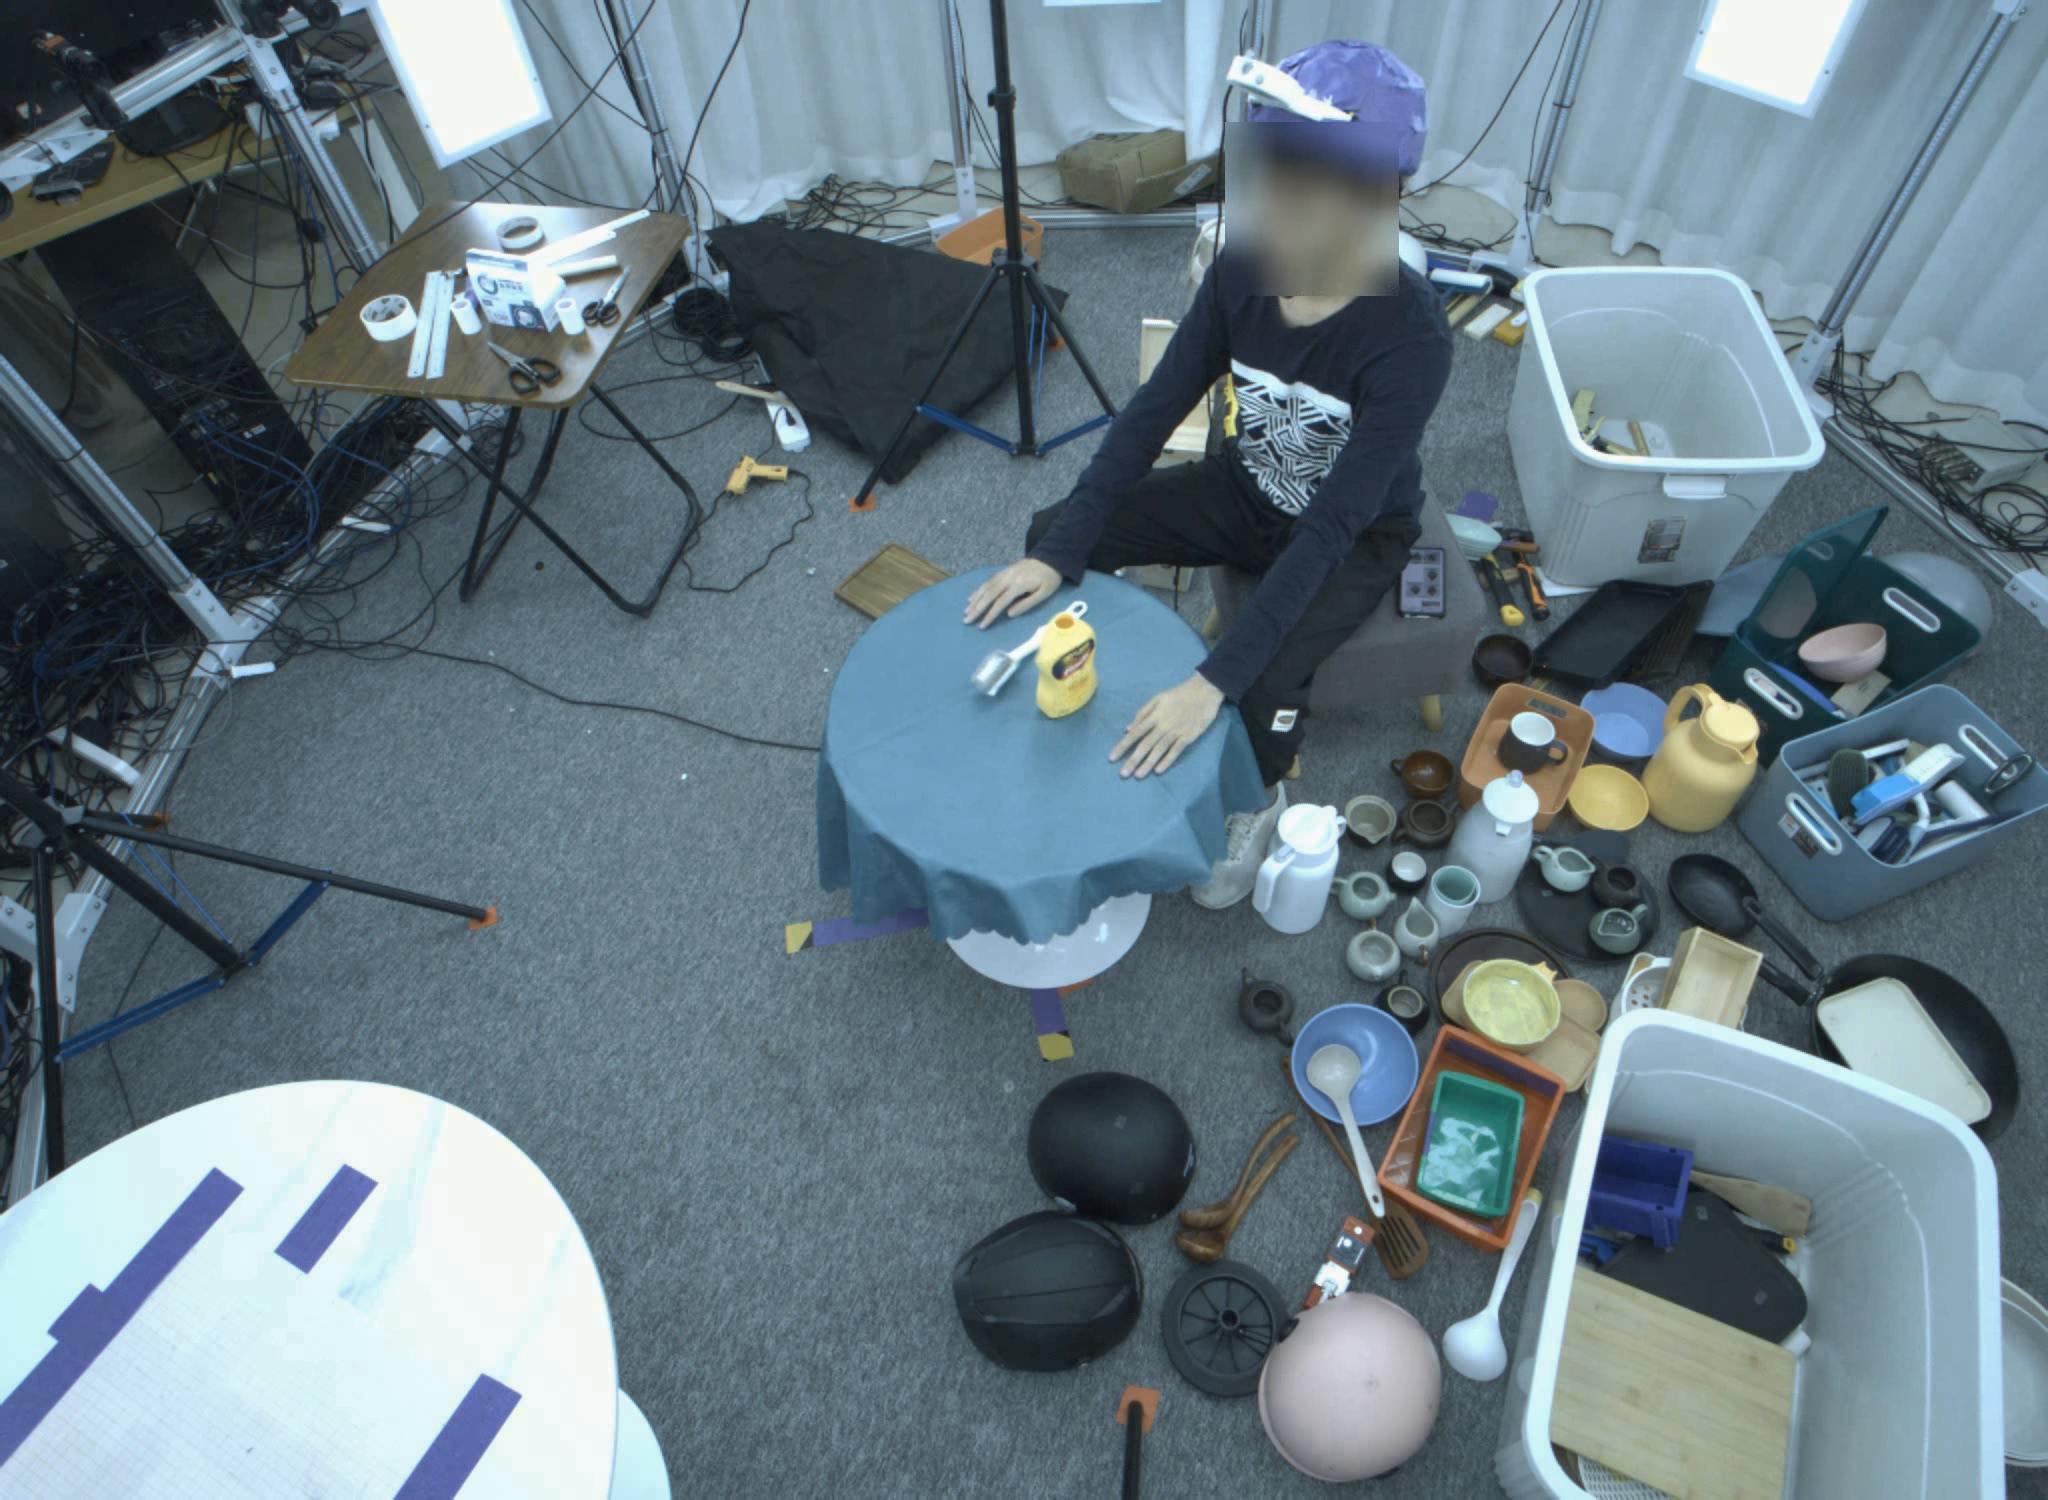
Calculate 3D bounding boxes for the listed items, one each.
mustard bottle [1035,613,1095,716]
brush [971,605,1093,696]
[{"bbox_3d":[0.060,-0.129,1.764,0.099,0.173,0.058,-39,63,-24],"label":"mustard bottle"},{"bbox_3d":[0.016,-0.165,1.869,0.245,0.051,0.034,-39,57,-23],"label":"brush"}]
